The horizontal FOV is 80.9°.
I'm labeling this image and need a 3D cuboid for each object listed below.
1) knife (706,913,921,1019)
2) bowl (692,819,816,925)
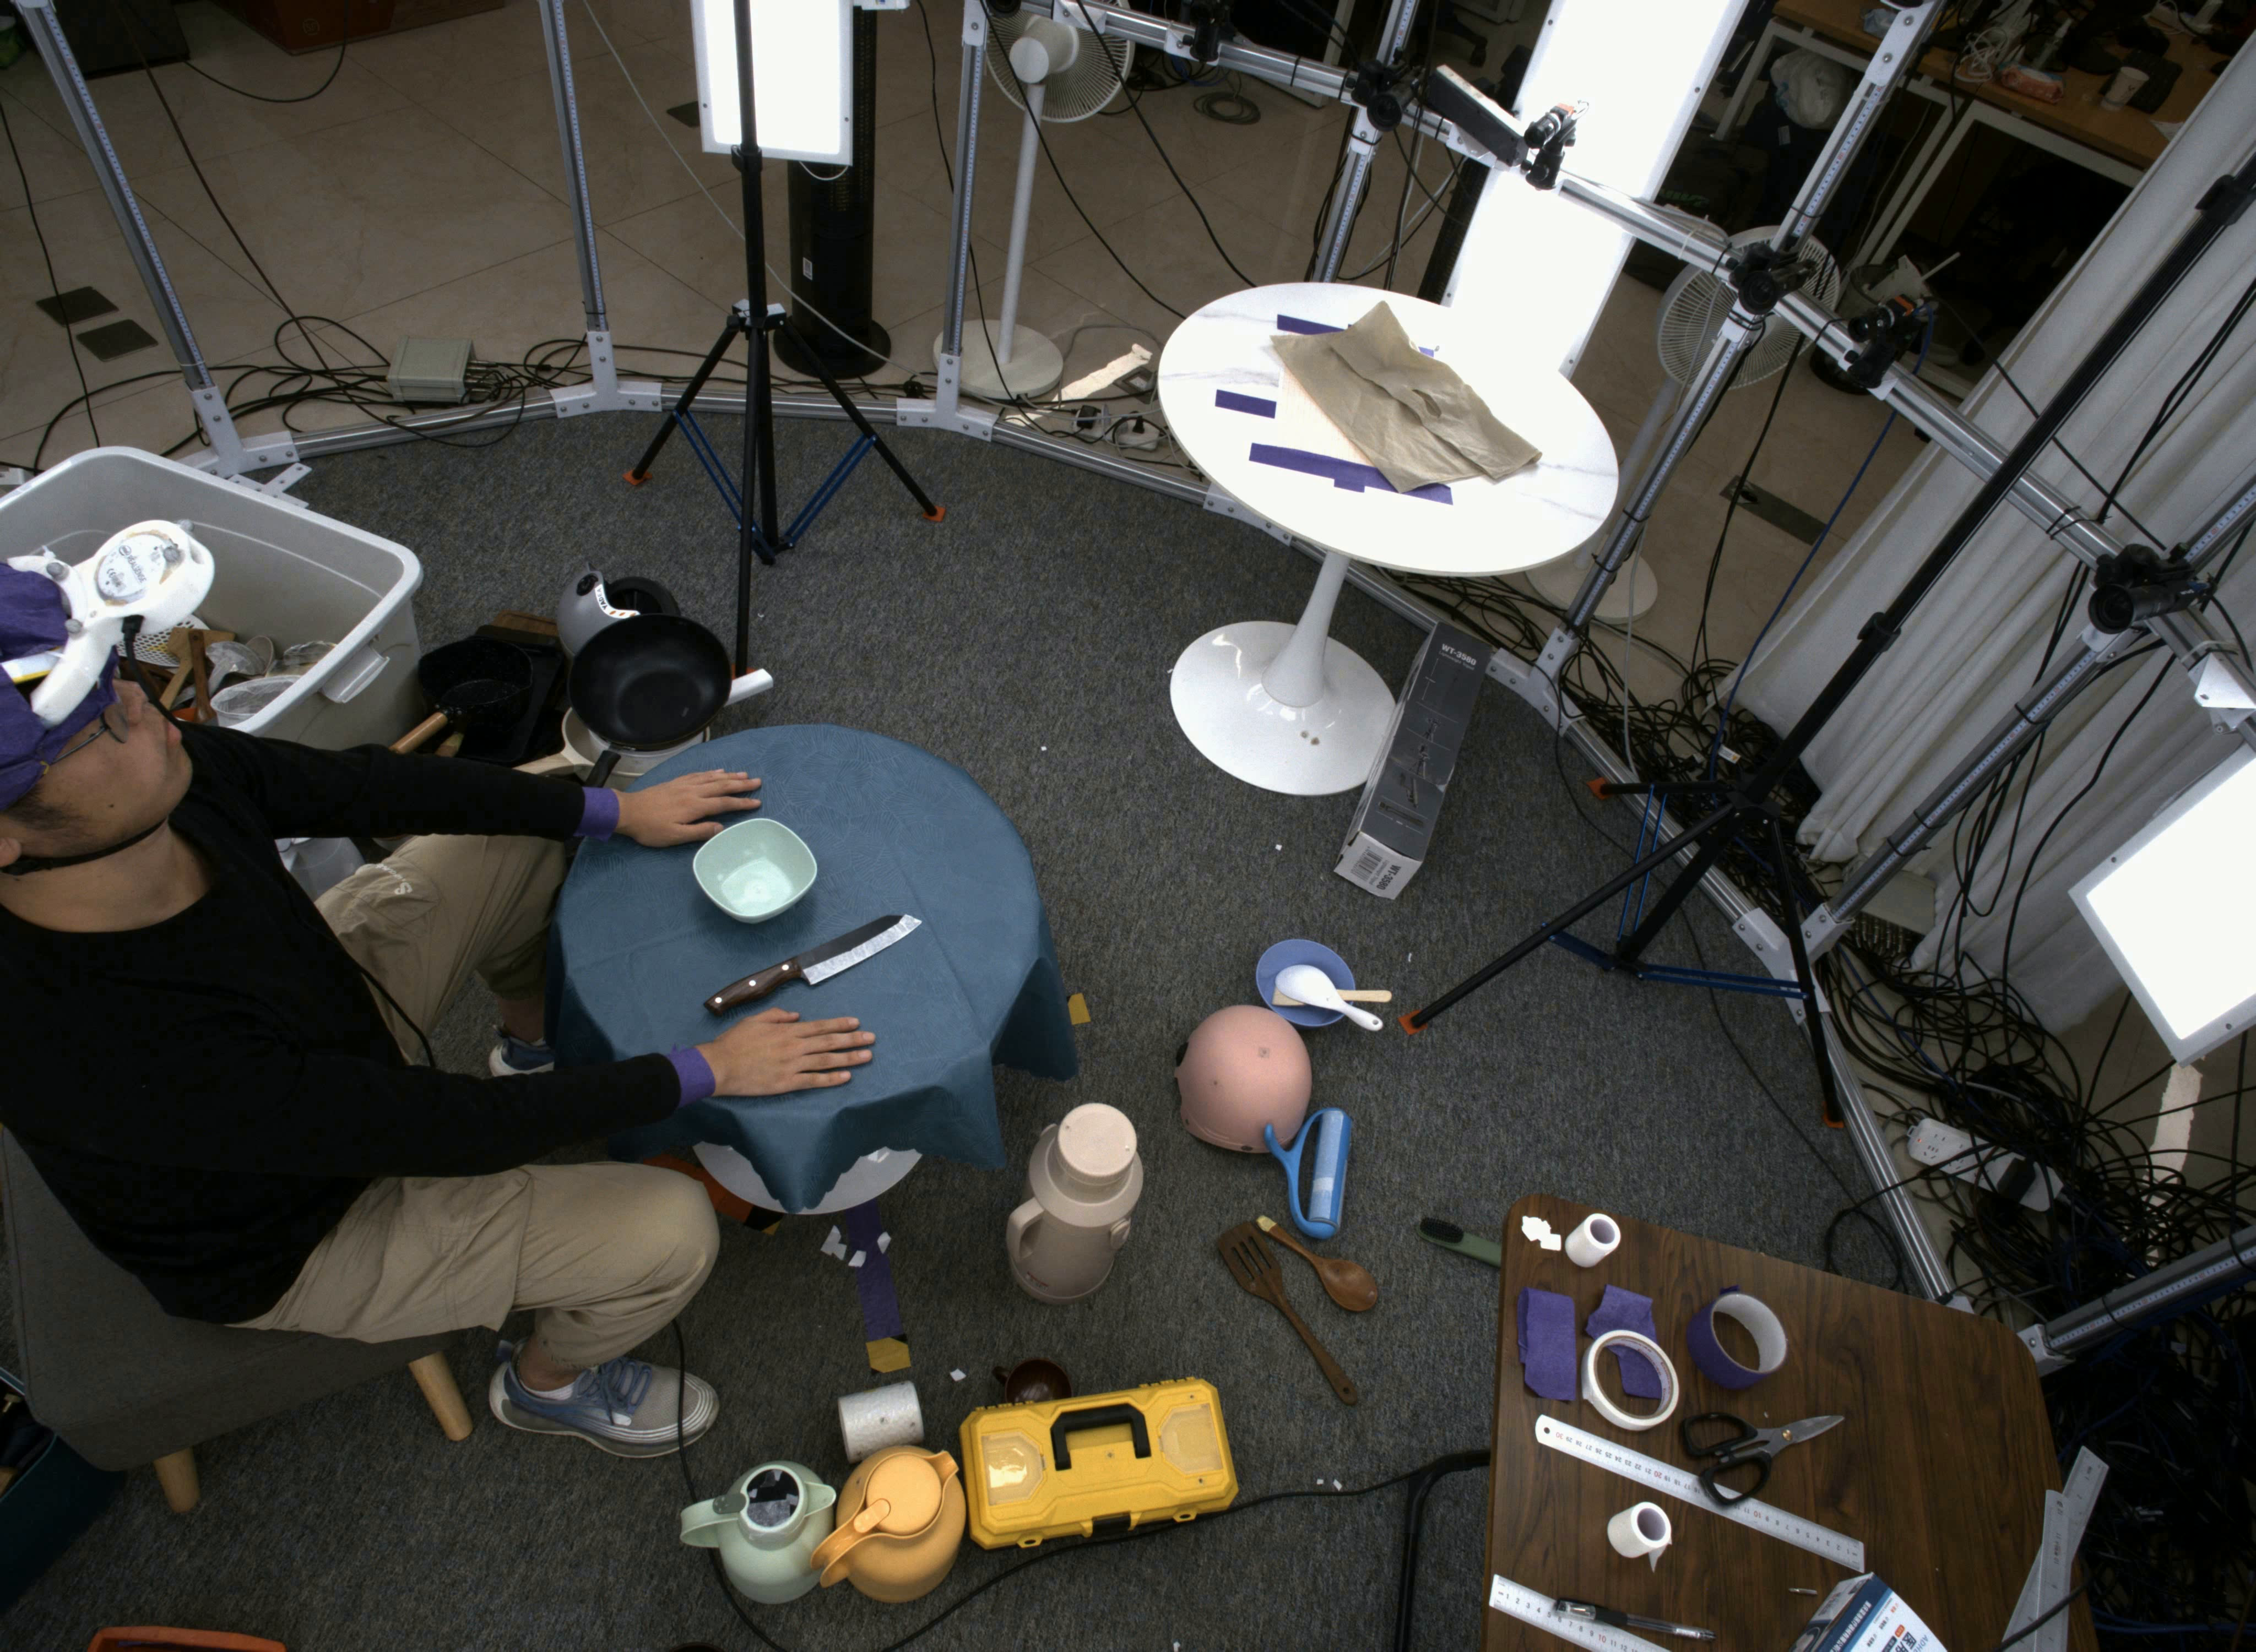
[{"bbox_3d":[-0.382,0.167,1.598,0.291,0.020,0.049,-23,67,-31],"label":"knife"},{"bbox_3d":[-0.468,0.066,1.624,0.151,0.060,0.148,9,51,-9],"label":"bowl"}]
